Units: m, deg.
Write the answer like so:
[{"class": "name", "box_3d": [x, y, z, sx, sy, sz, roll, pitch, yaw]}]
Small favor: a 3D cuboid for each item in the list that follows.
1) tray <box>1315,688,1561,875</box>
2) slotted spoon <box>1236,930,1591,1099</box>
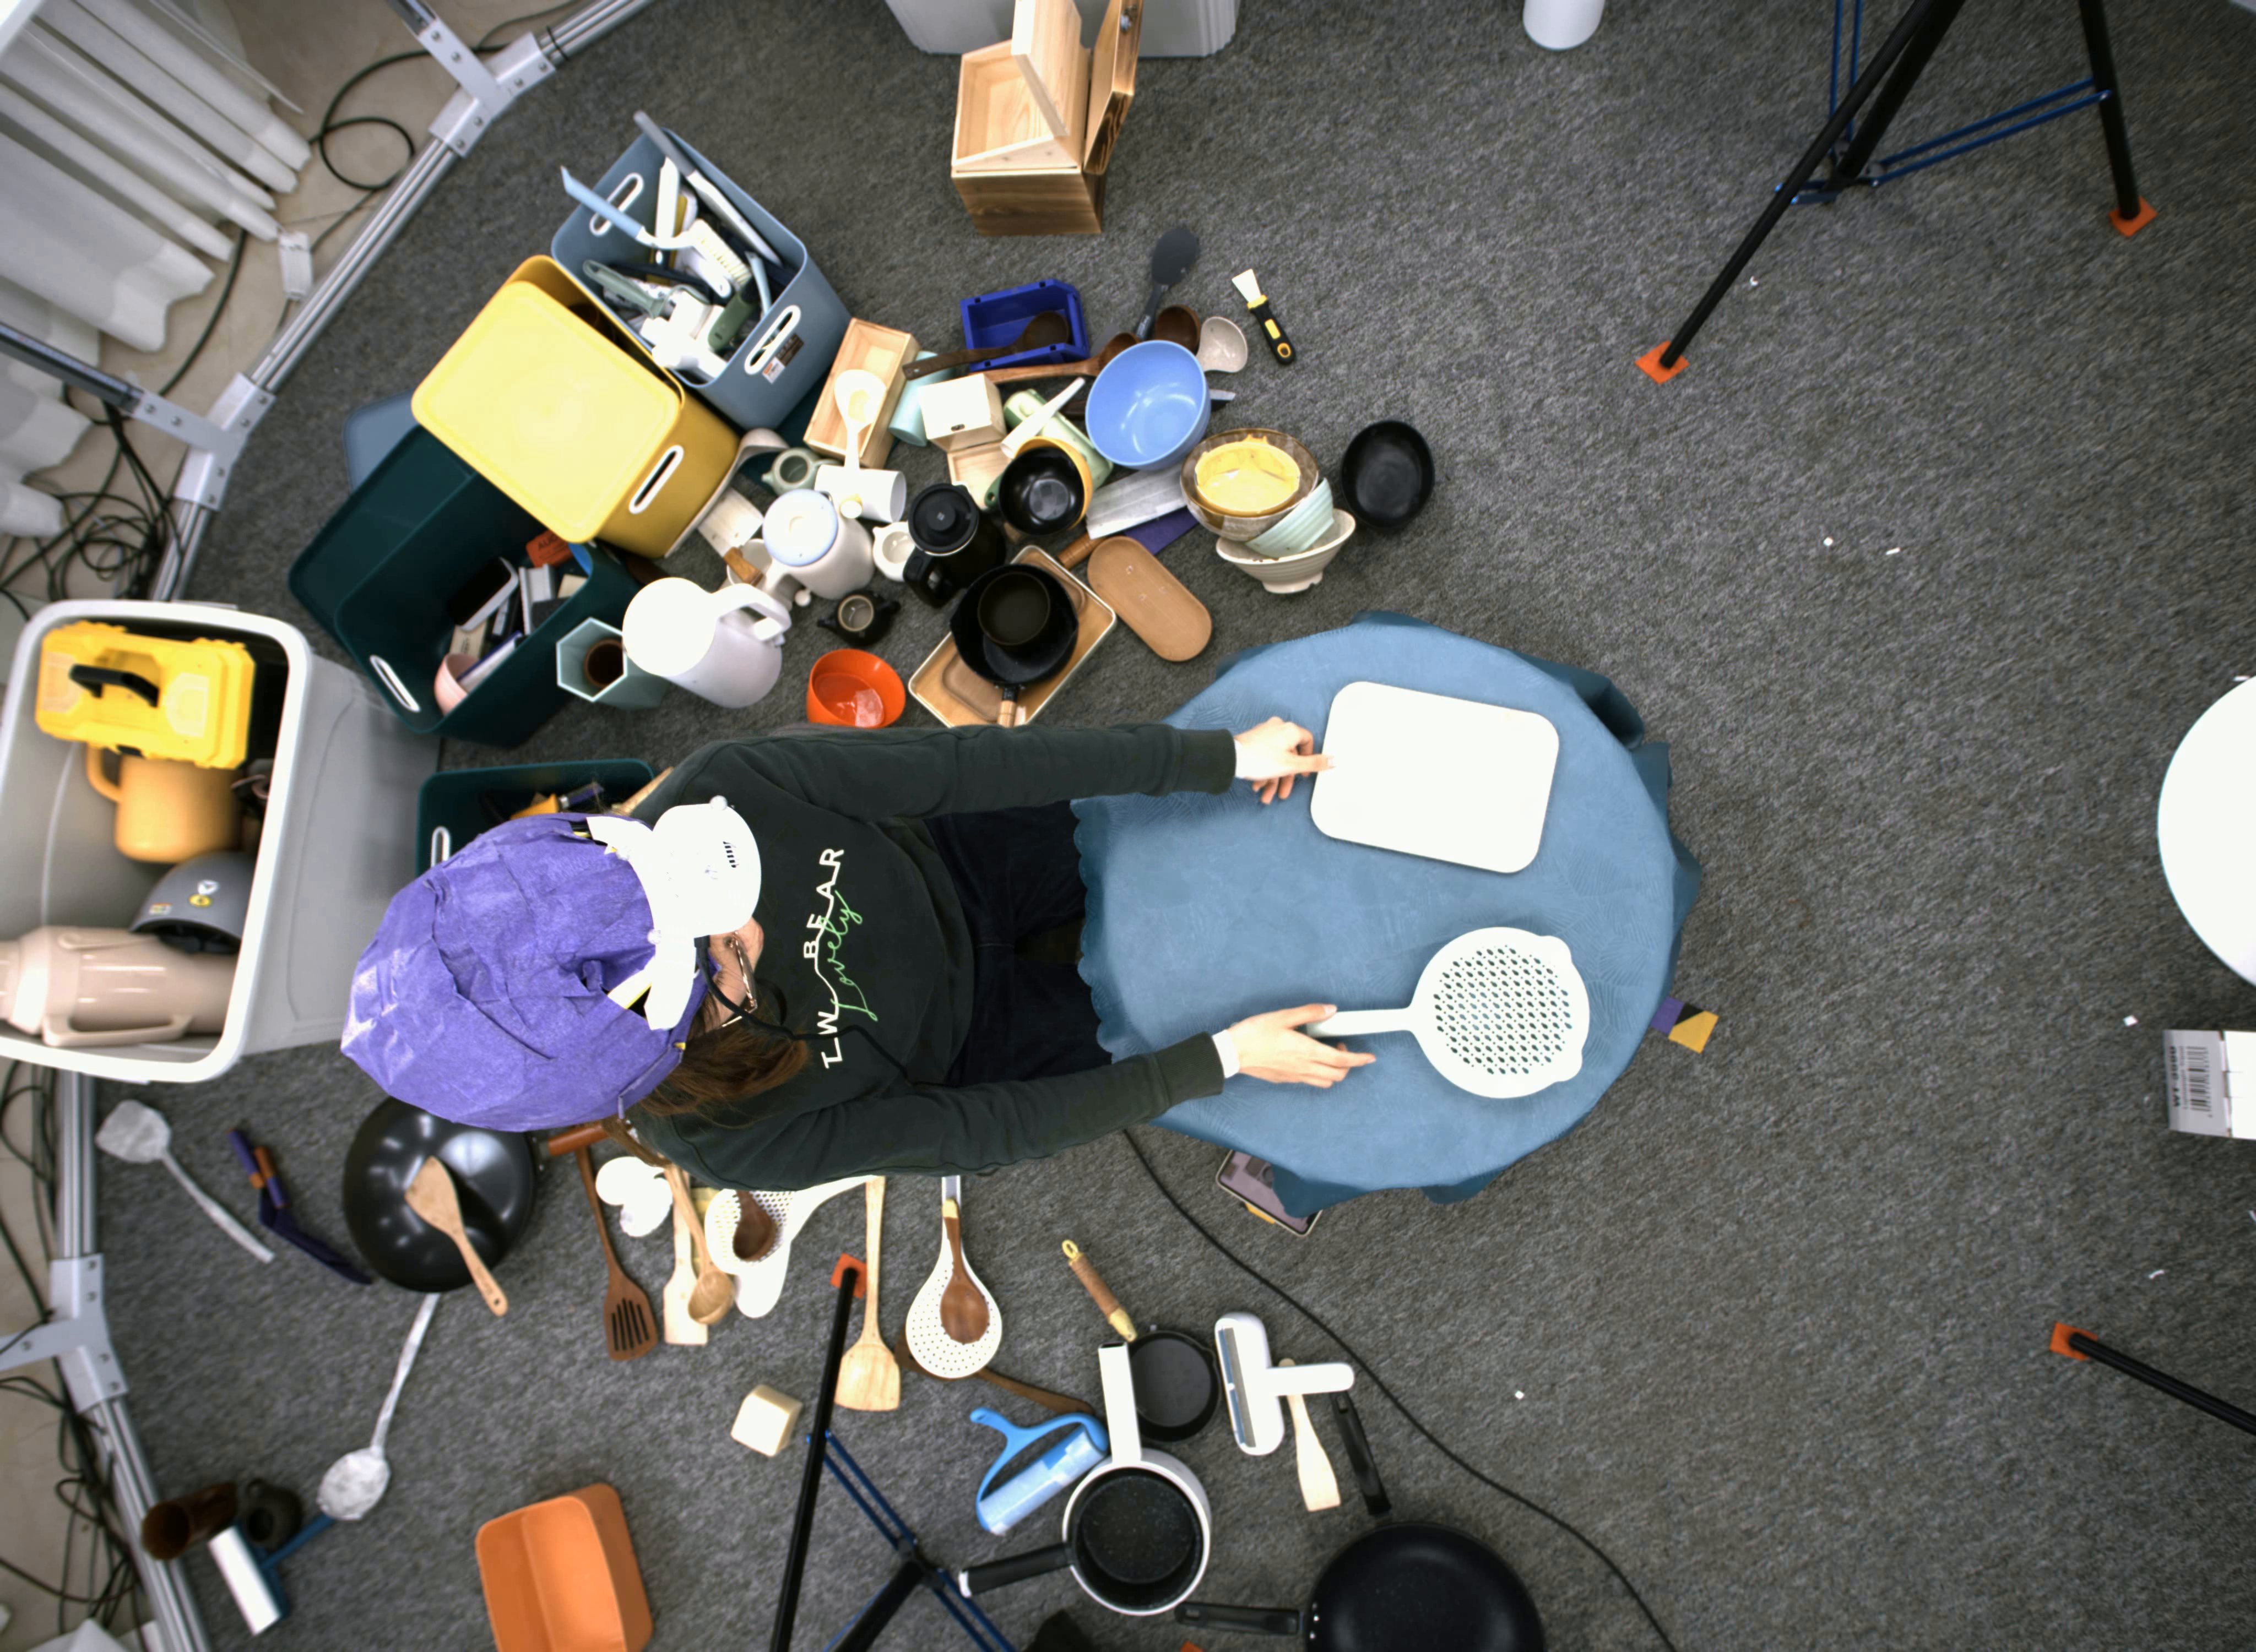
[{"class": "tray", "box_3d": [0.326, -0.050, 1.455, 0.240, 0.017, 0.171, 11, 88, 12]}, {"class": "slotted spoon", "box_3d": [0.286, 0.198, 1.421, 0.360, 0.075, 0.168, -5, 84, 10]}]
